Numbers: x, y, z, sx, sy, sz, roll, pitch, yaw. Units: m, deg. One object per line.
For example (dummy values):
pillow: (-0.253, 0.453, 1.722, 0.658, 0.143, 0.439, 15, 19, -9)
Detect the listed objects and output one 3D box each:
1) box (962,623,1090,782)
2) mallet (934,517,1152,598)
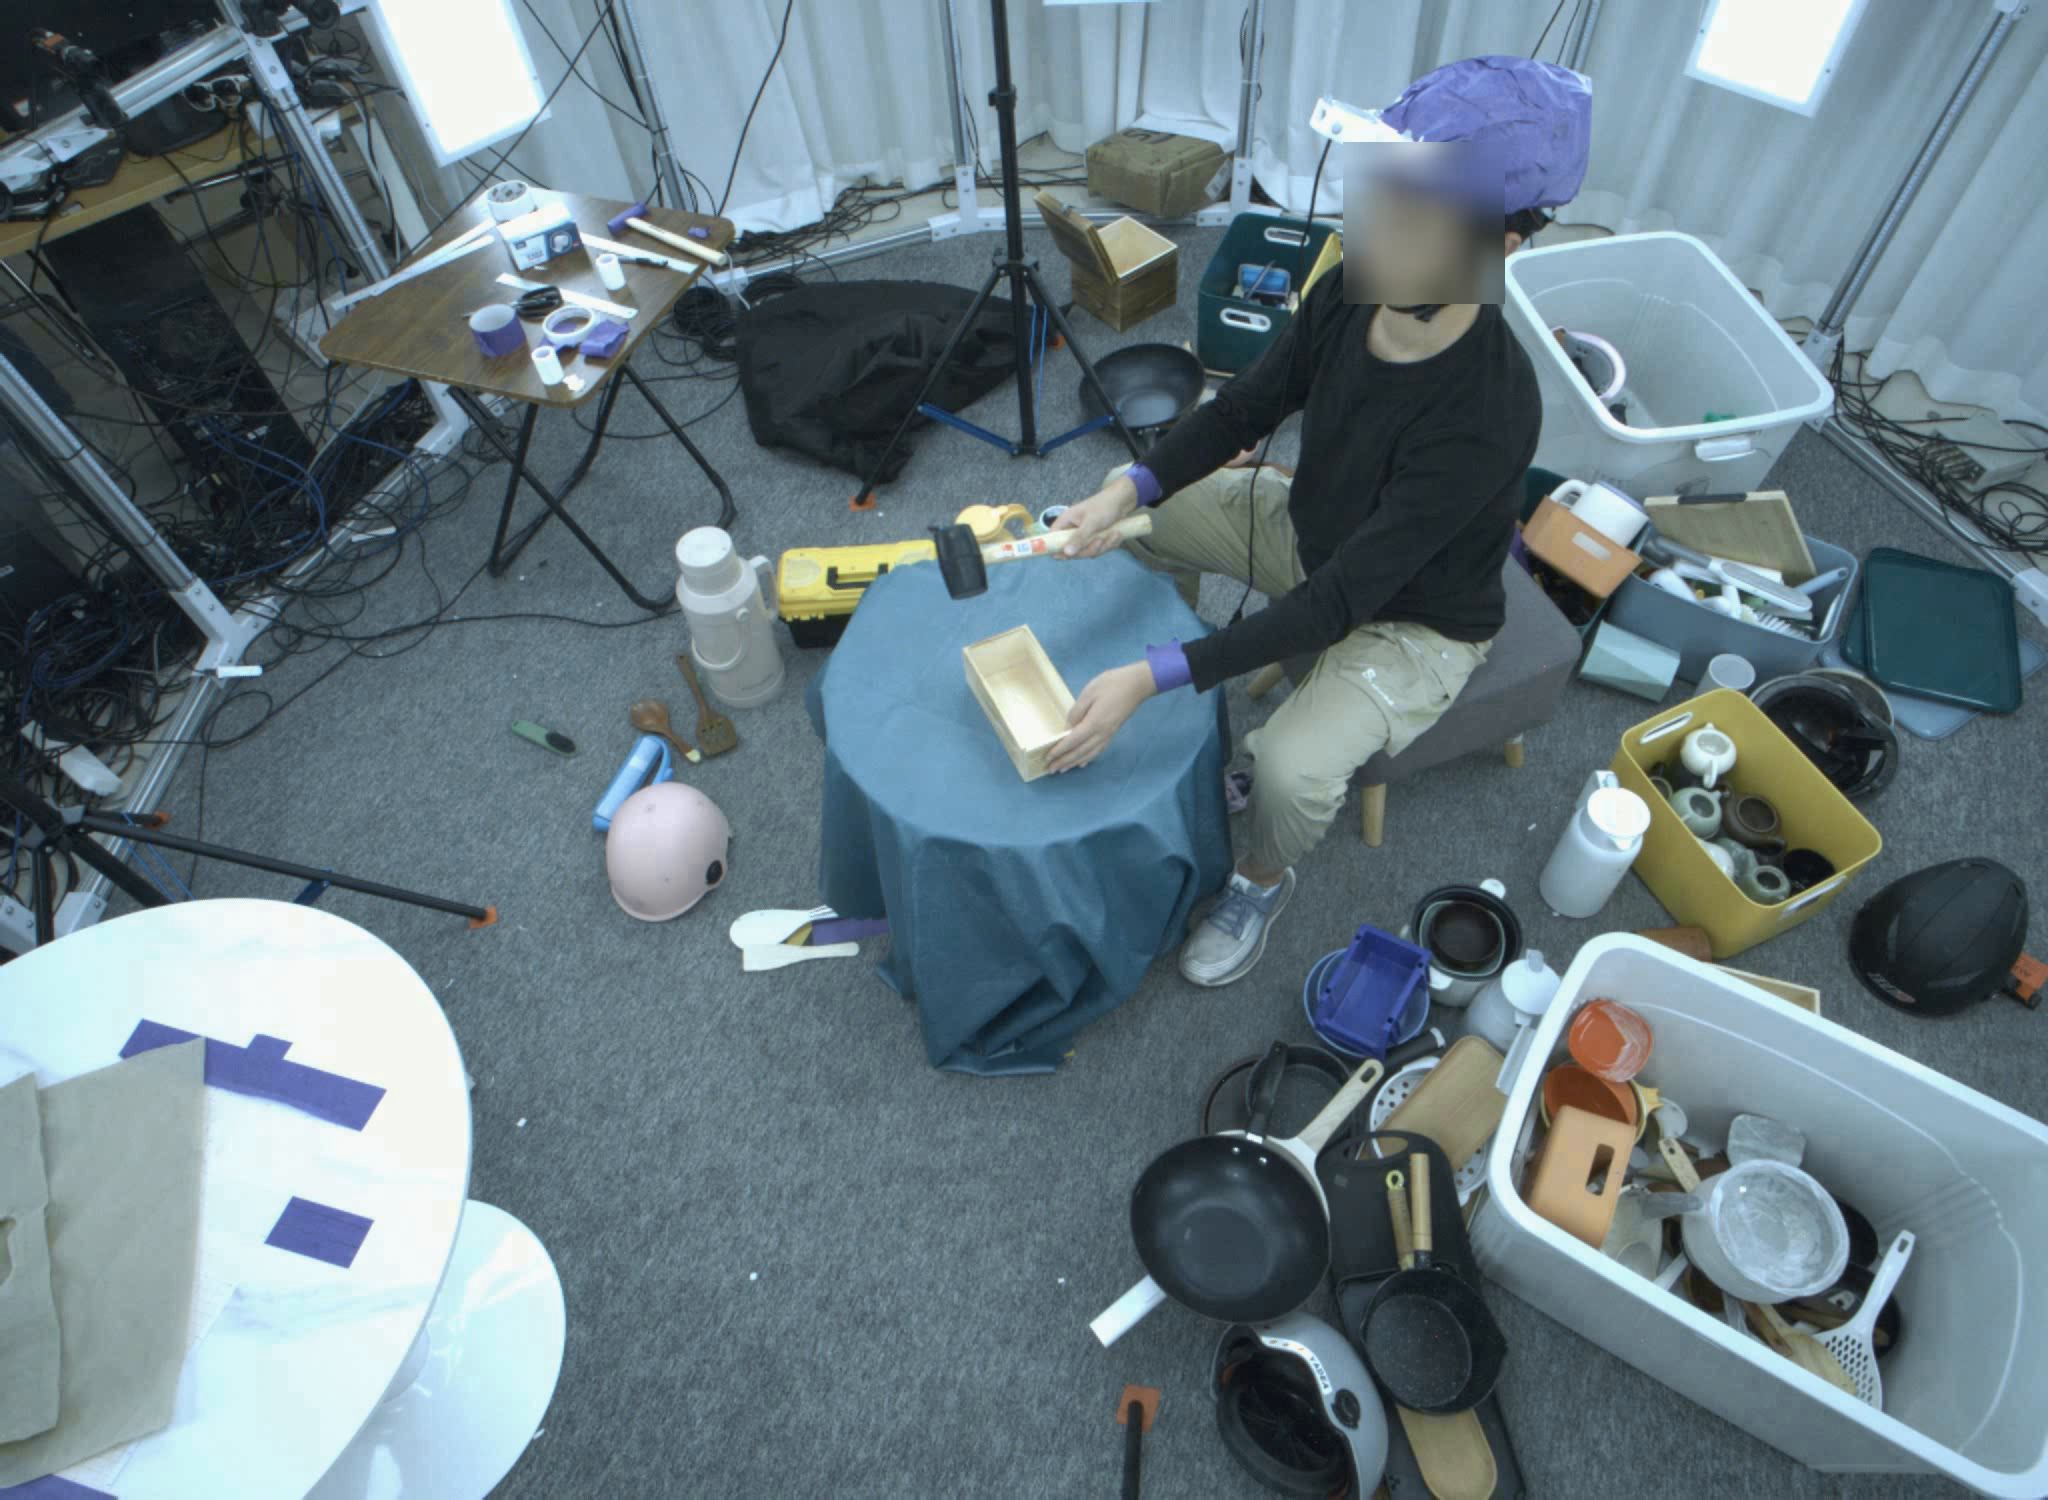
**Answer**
box: (0.001, -0.072, 1.785, 0.108, 0.081, 0.207, -22, 57, -13)
mallet: (0.036, -0.302, 1.788, 0.343, 0.063, 0.102, -14, 95, -20)
